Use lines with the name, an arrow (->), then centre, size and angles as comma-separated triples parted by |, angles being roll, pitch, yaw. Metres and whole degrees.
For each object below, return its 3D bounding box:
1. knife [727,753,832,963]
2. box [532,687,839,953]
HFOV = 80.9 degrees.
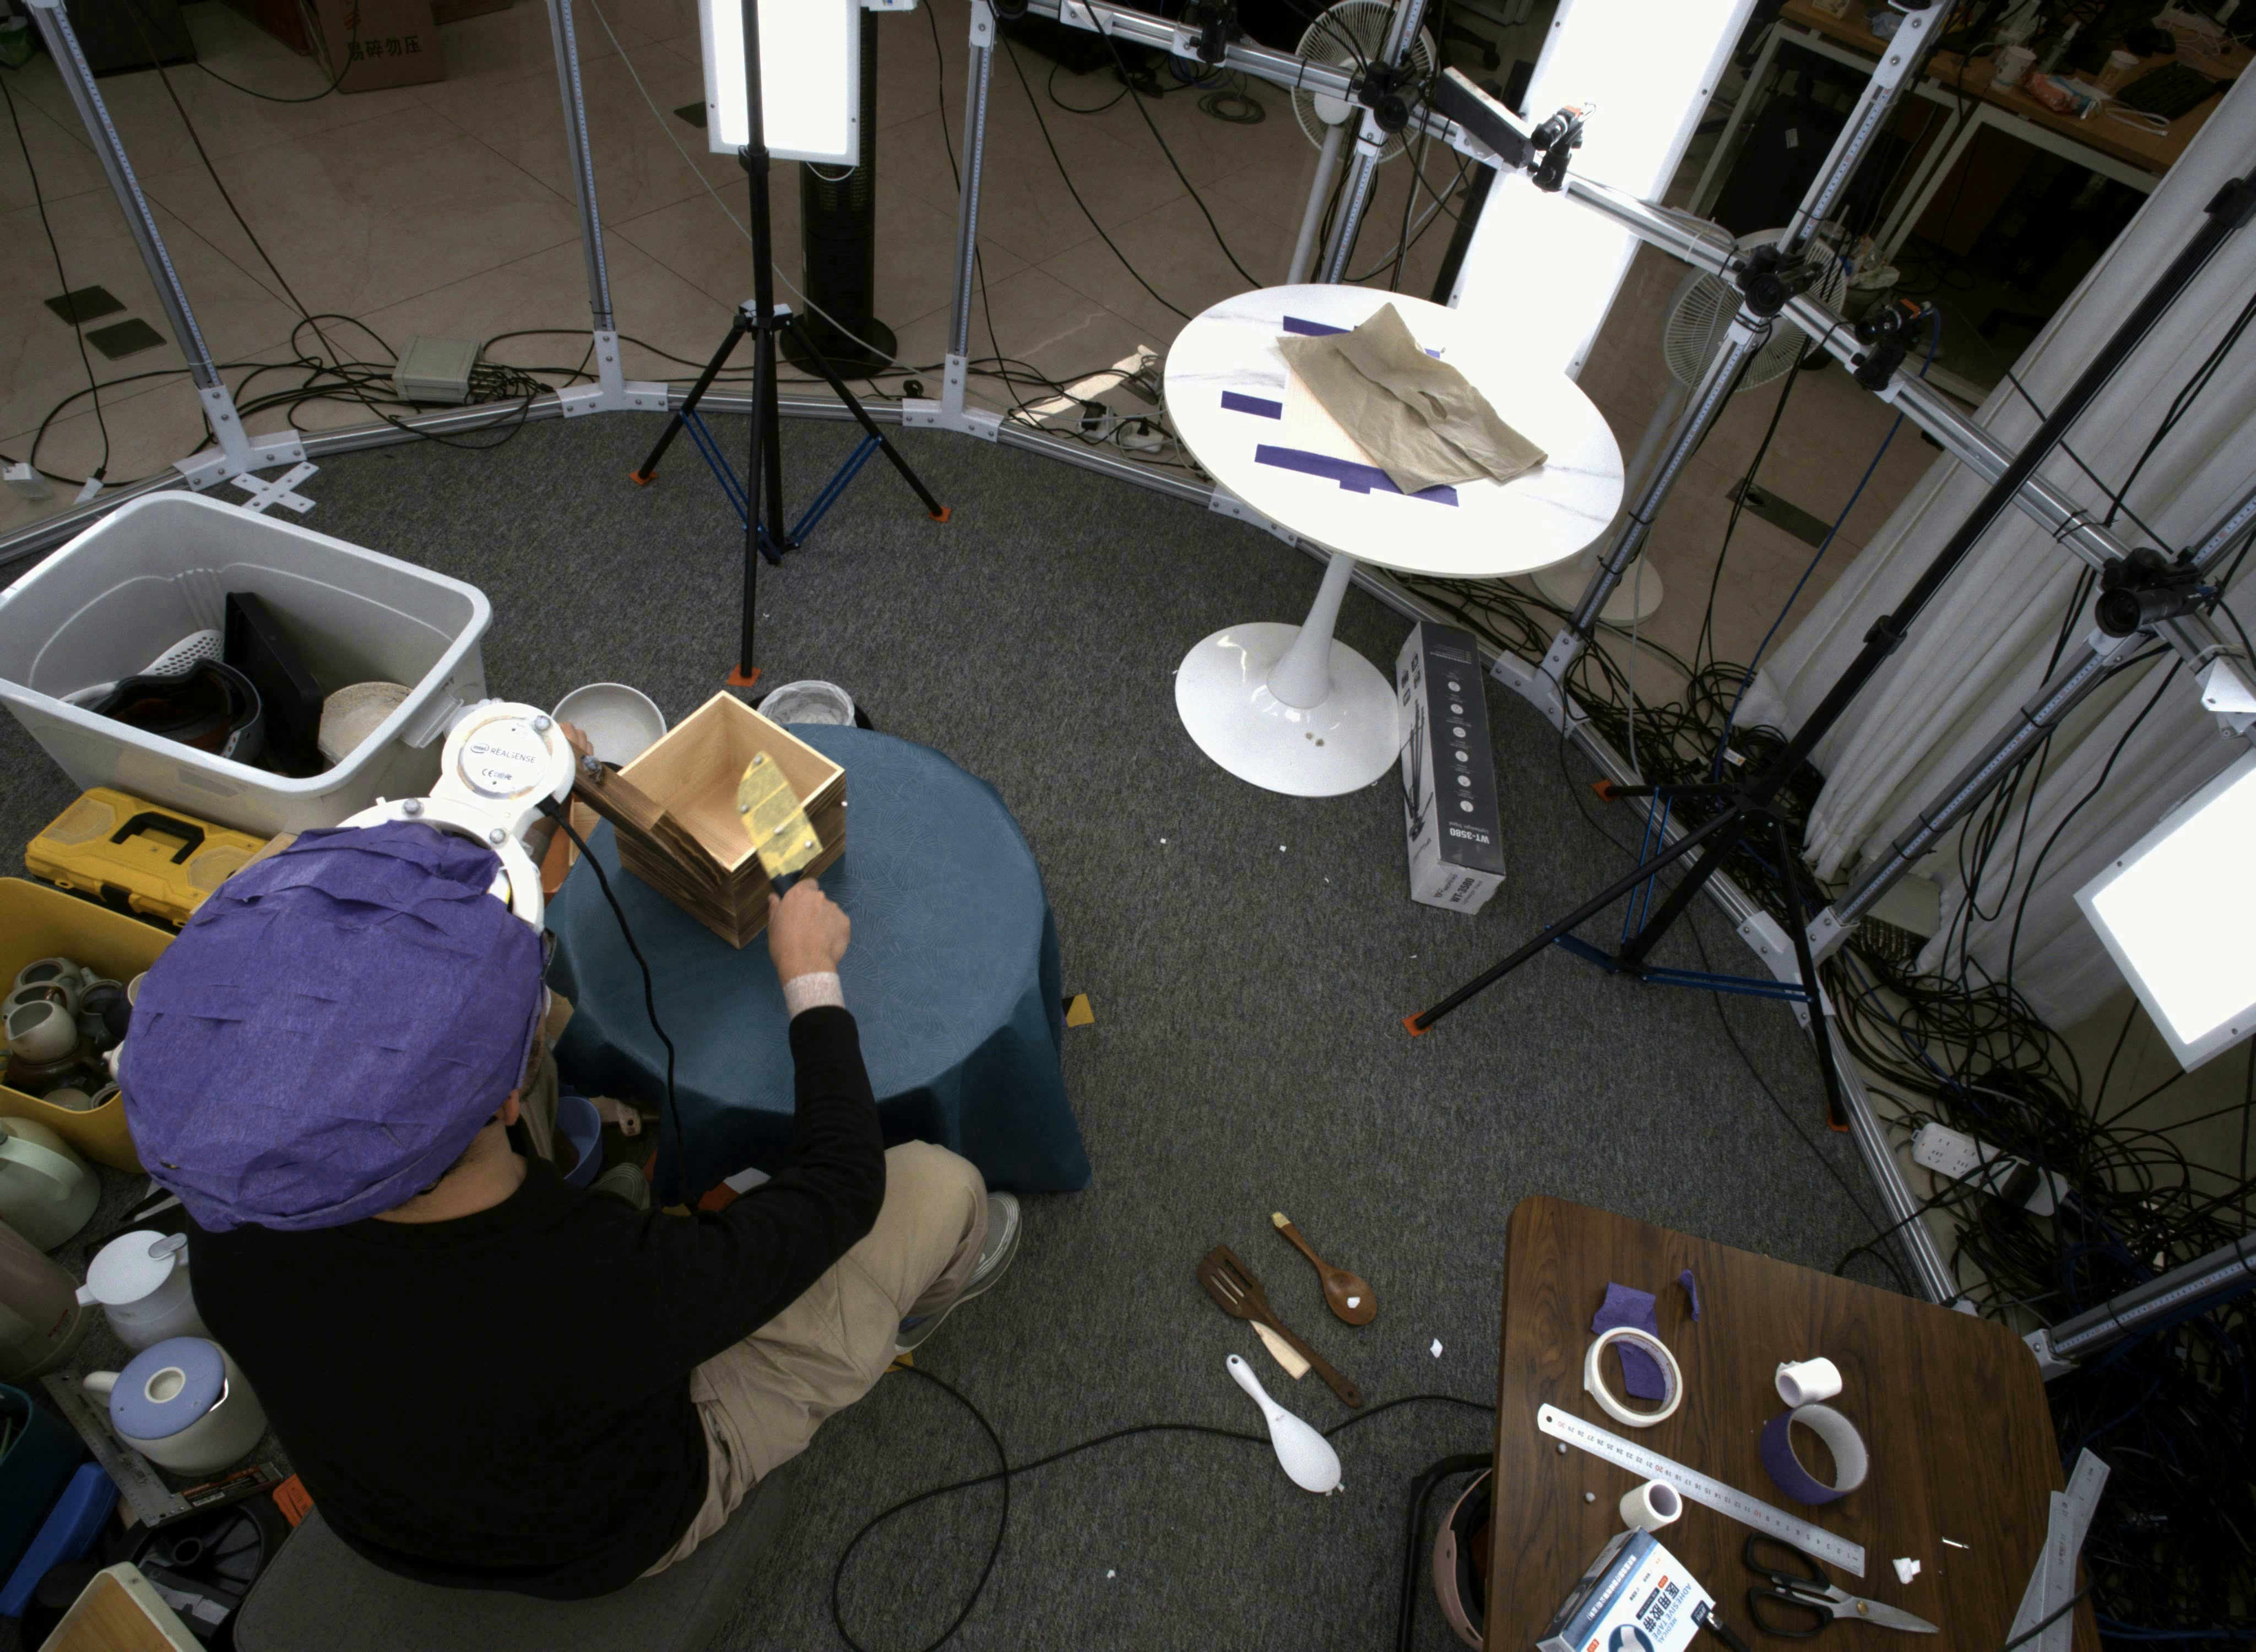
knife -> -0.390, 0.027, 1.464 | 0.080, 0.028, 0.283 | -36, 66, 11
box -> -0.511, -0.036, 1.491 | 0.205, 0.383, 0.321 | 31, 54, 11
